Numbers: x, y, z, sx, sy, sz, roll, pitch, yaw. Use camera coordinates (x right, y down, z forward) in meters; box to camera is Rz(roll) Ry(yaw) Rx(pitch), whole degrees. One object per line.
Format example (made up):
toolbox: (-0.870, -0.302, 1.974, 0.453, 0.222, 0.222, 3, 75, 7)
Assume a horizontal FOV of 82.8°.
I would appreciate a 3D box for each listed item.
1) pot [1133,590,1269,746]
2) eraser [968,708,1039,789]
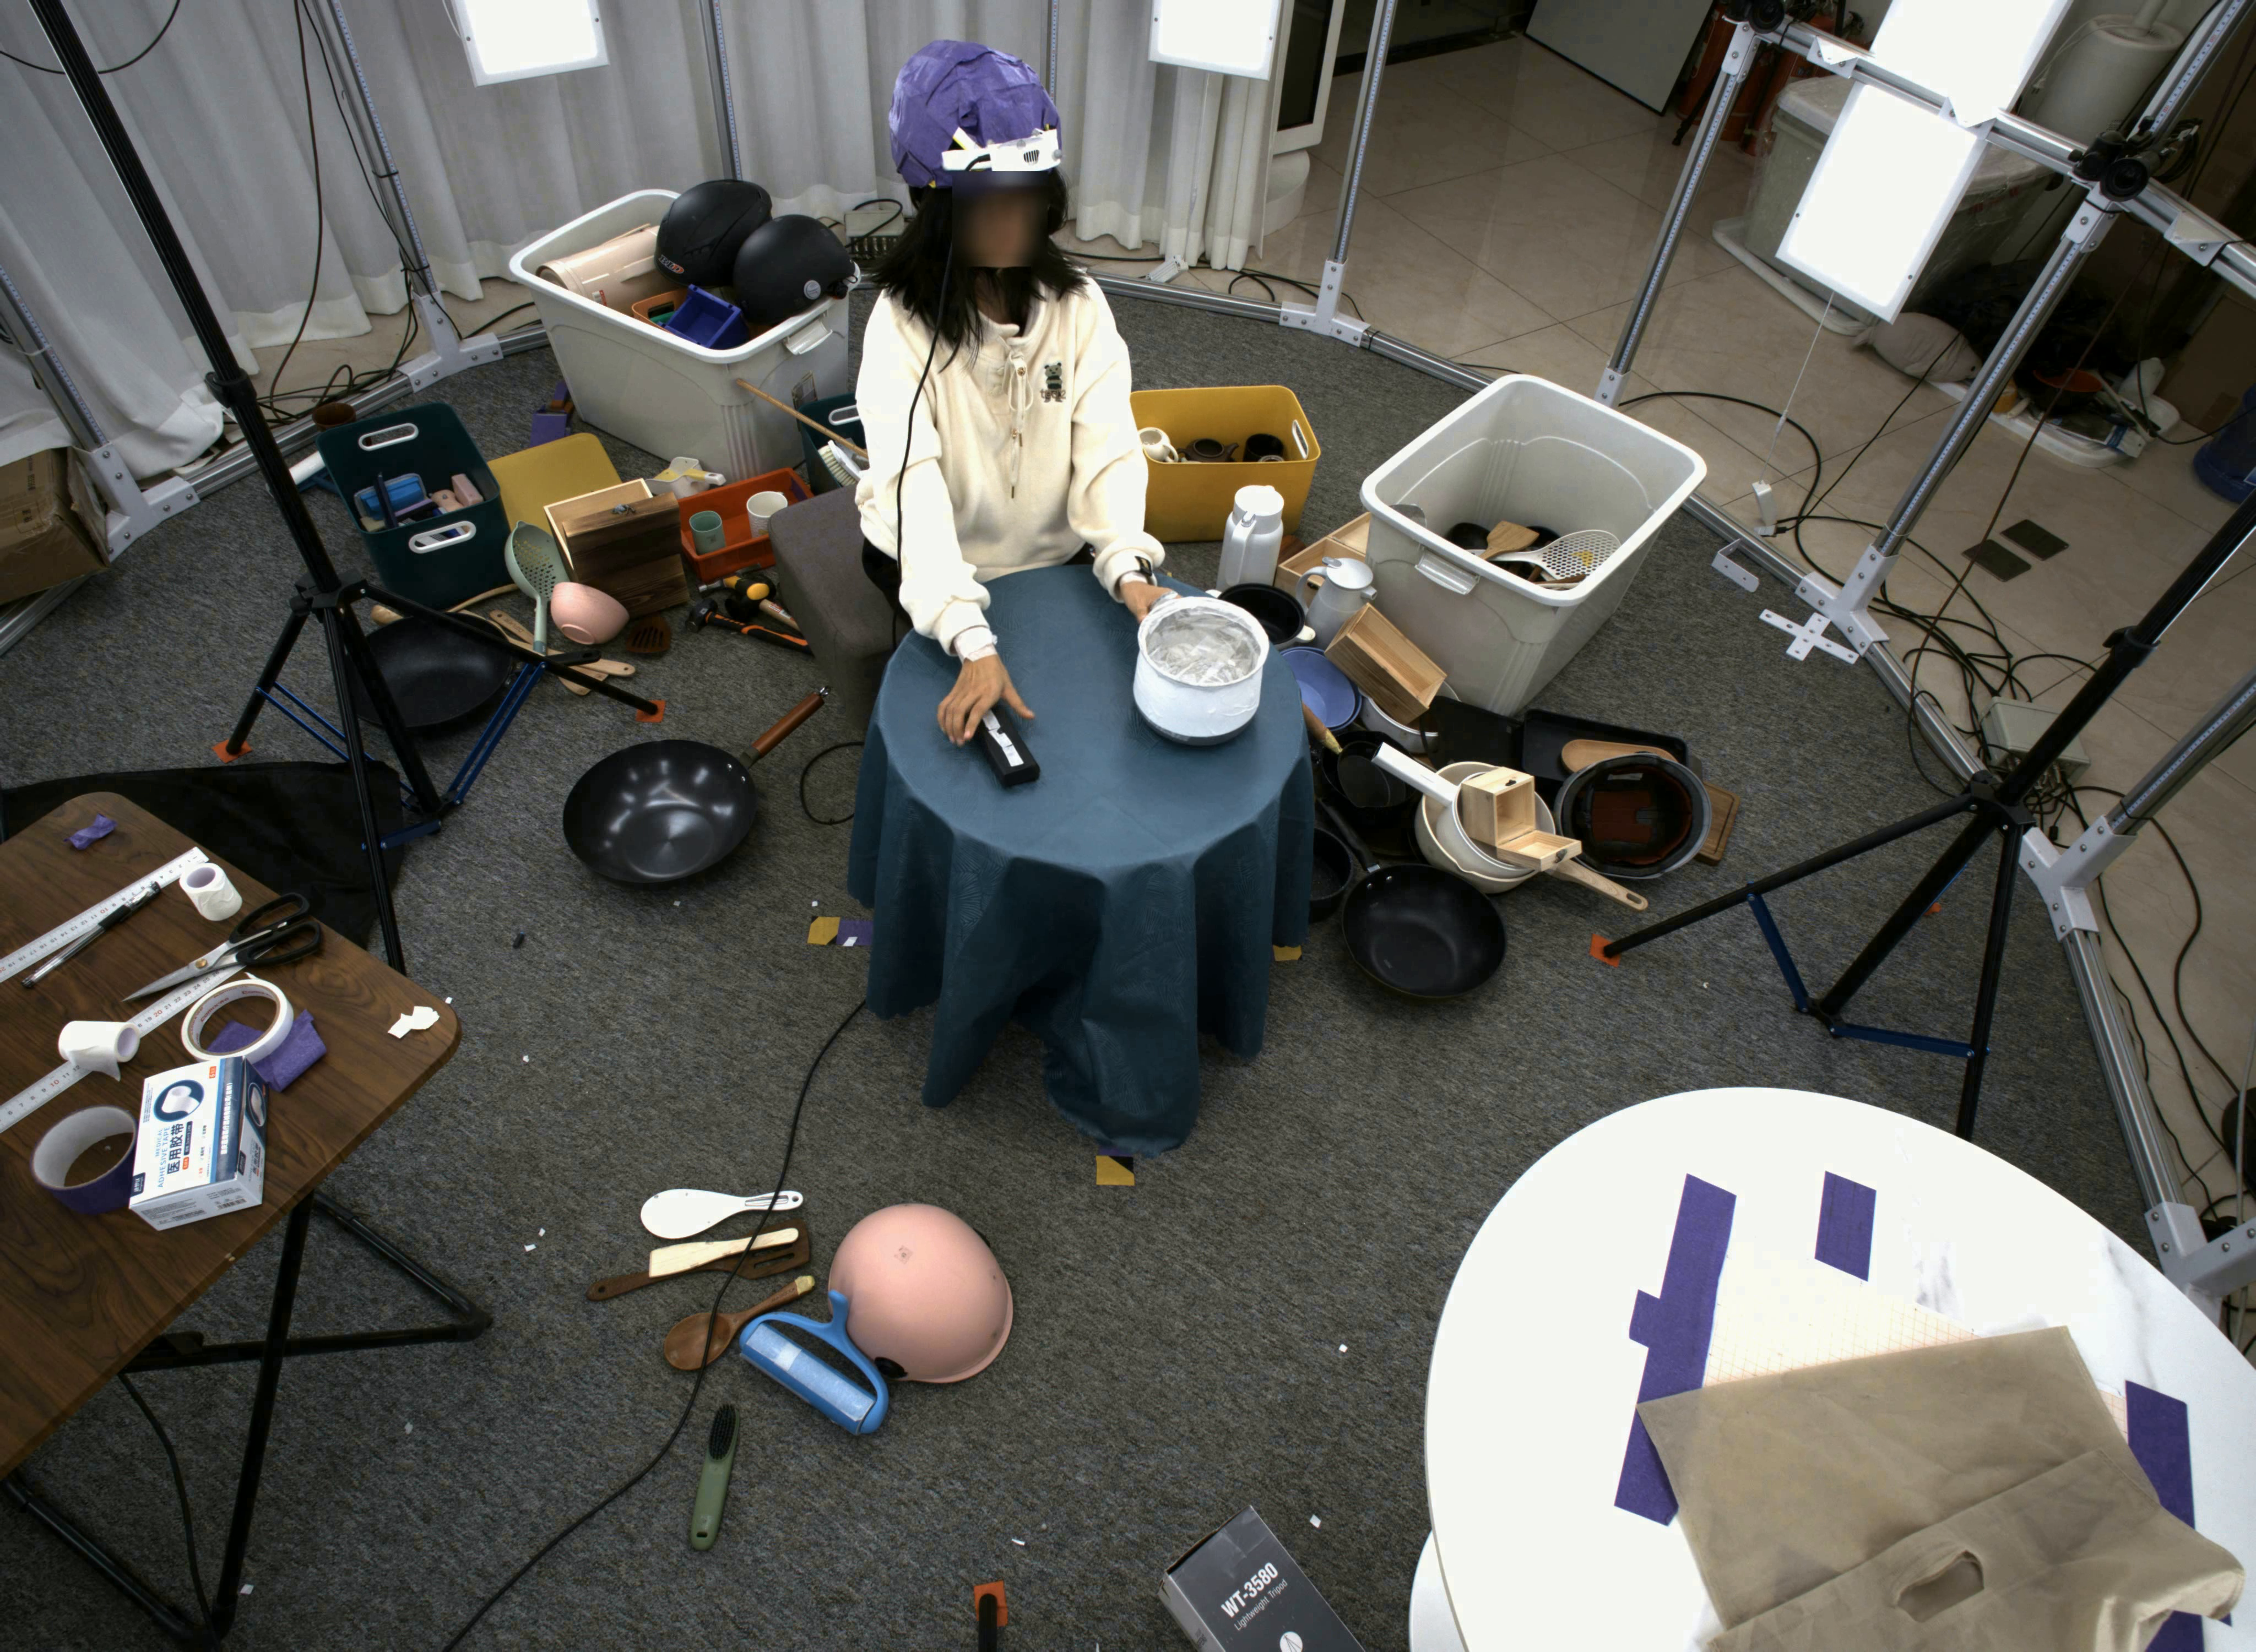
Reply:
pot: (0.085, -0.230, 1.785, 0.179, 0.133, 0.239, -18, 53, -19)
eraser: (-0.168, -0.106, 1.733, 0.053, 0.030, 0.128, -18, 52, -19)
